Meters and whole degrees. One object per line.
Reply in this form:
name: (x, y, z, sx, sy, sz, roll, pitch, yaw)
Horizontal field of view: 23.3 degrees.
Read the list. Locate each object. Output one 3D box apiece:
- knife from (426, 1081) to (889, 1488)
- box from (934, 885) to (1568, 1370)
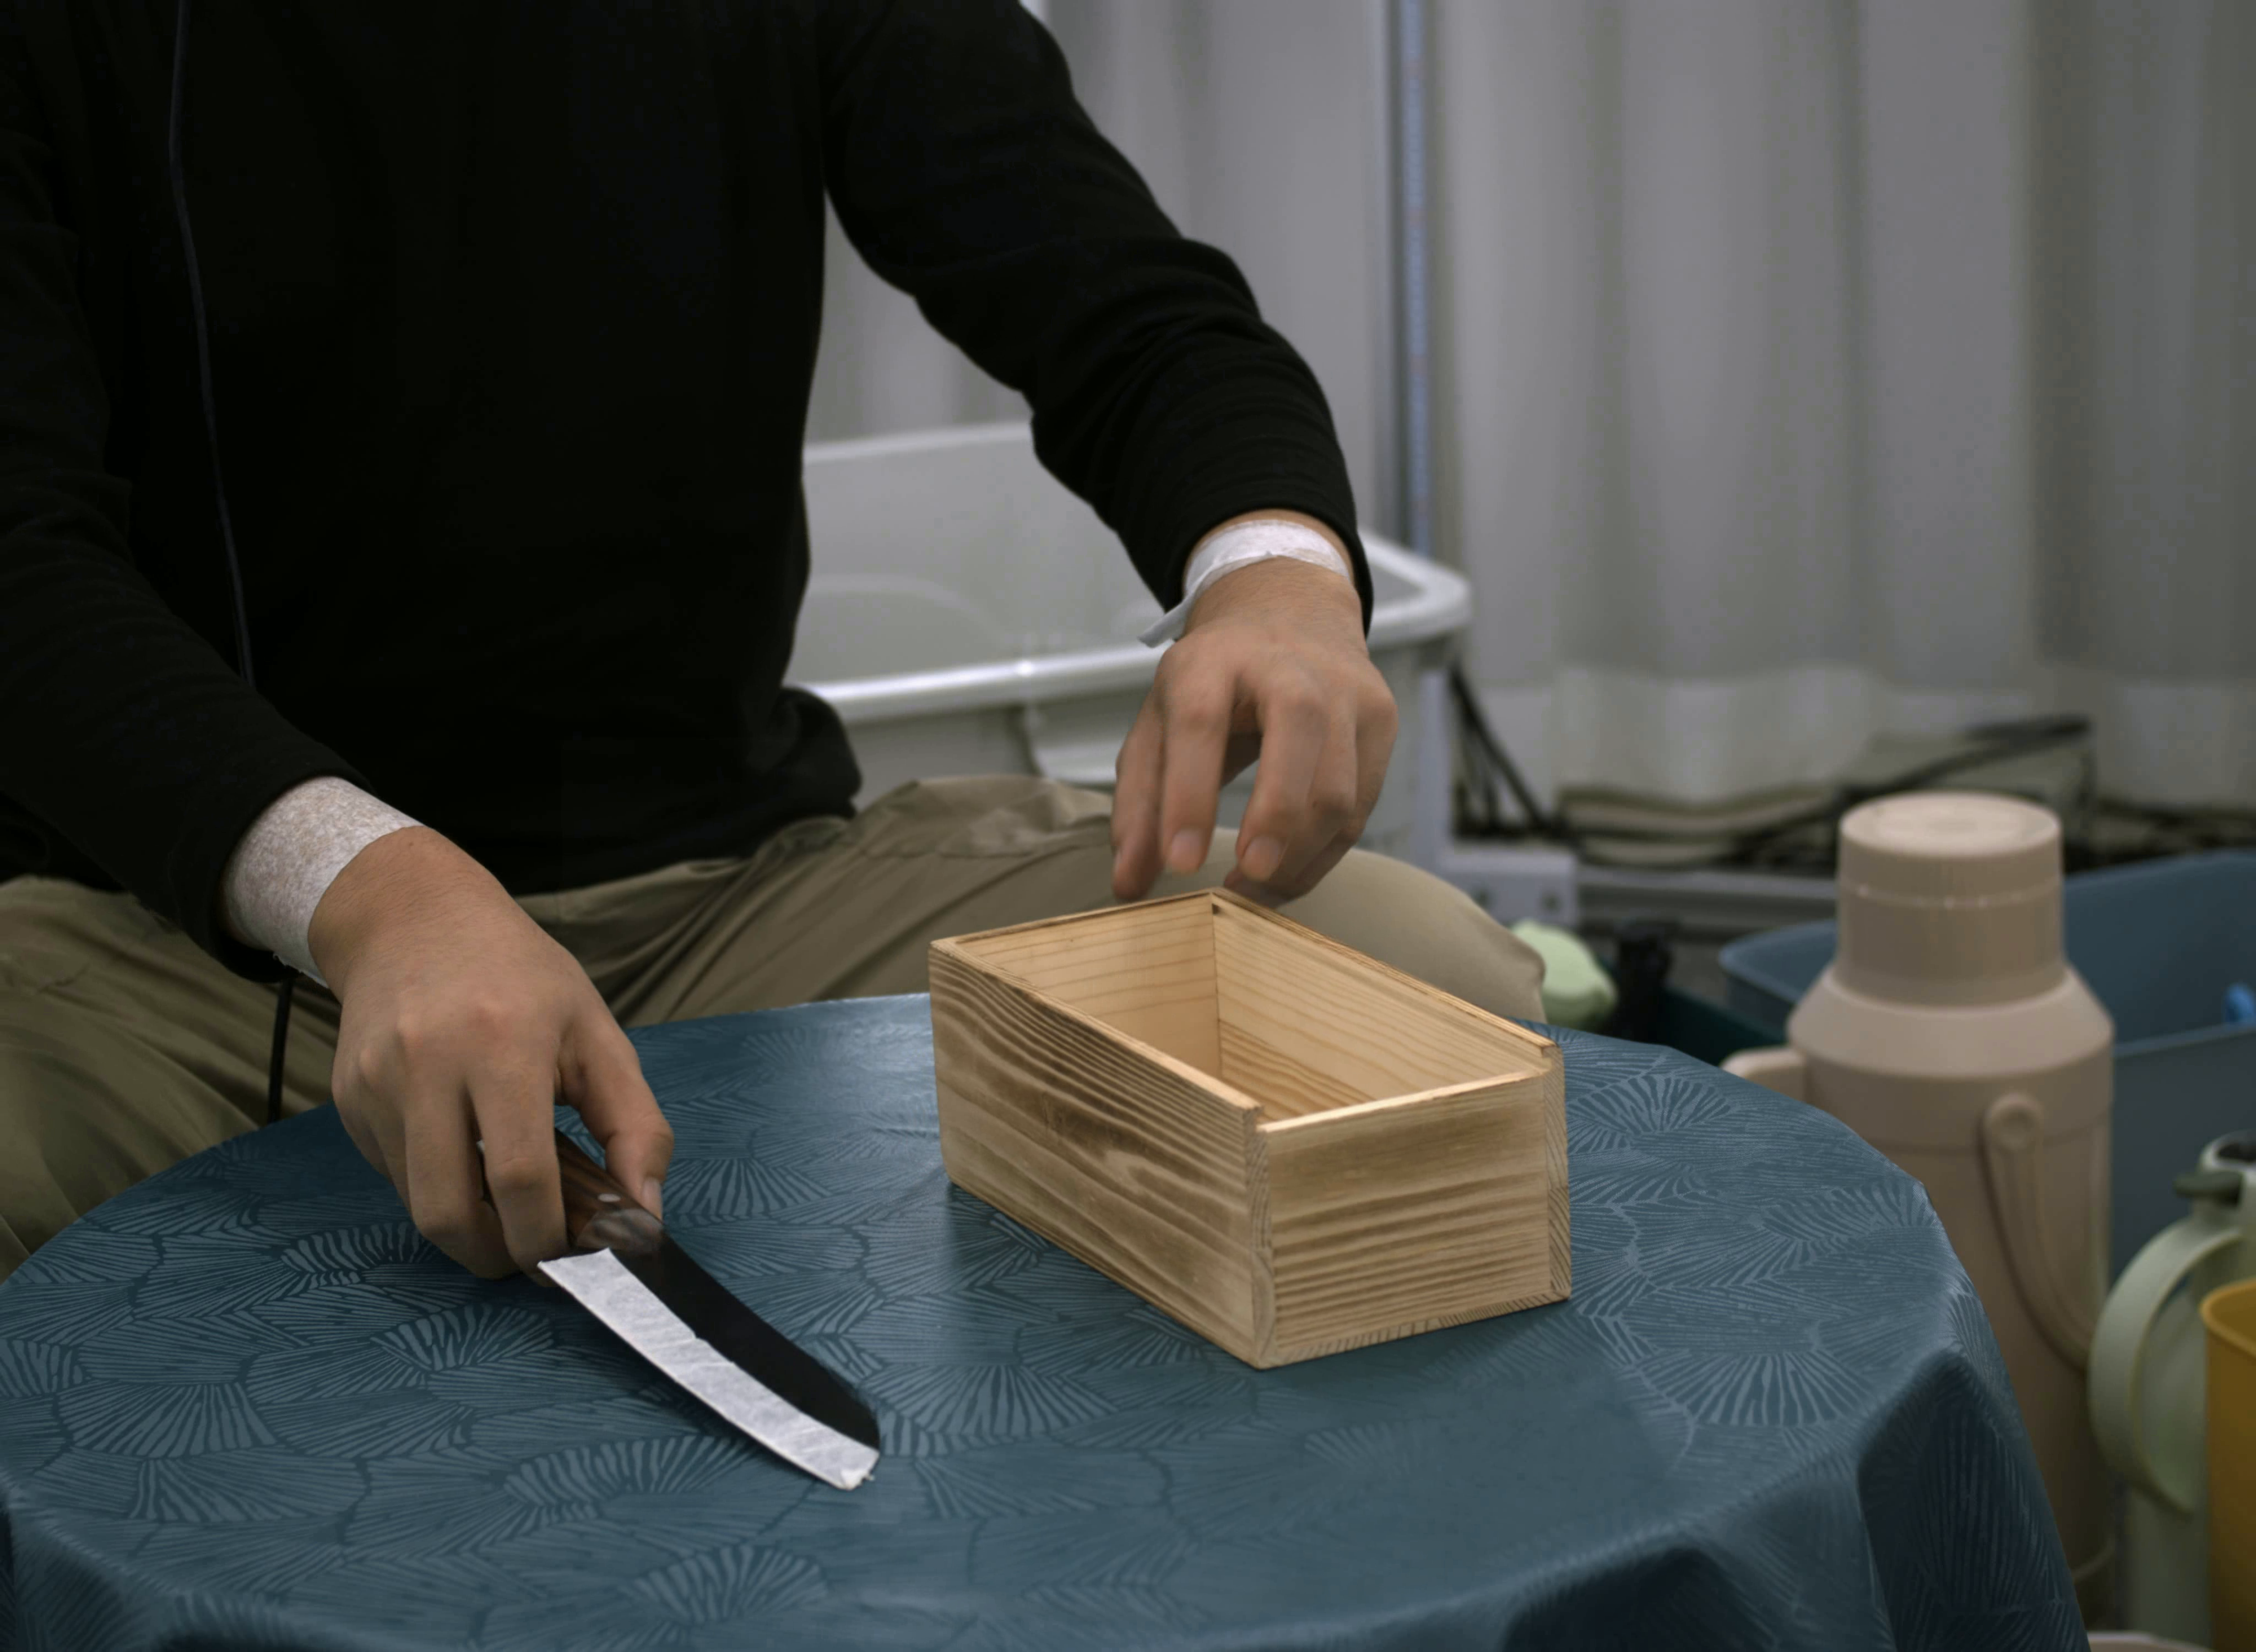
knife: (-0.142, 0.134, 1.603, 0.050, 0.020, 0.292, -7, 22, -28)
box: (0.034, 0.087, 1.658, 0.107, 0.080, 0.213, -9, 16, -26)
